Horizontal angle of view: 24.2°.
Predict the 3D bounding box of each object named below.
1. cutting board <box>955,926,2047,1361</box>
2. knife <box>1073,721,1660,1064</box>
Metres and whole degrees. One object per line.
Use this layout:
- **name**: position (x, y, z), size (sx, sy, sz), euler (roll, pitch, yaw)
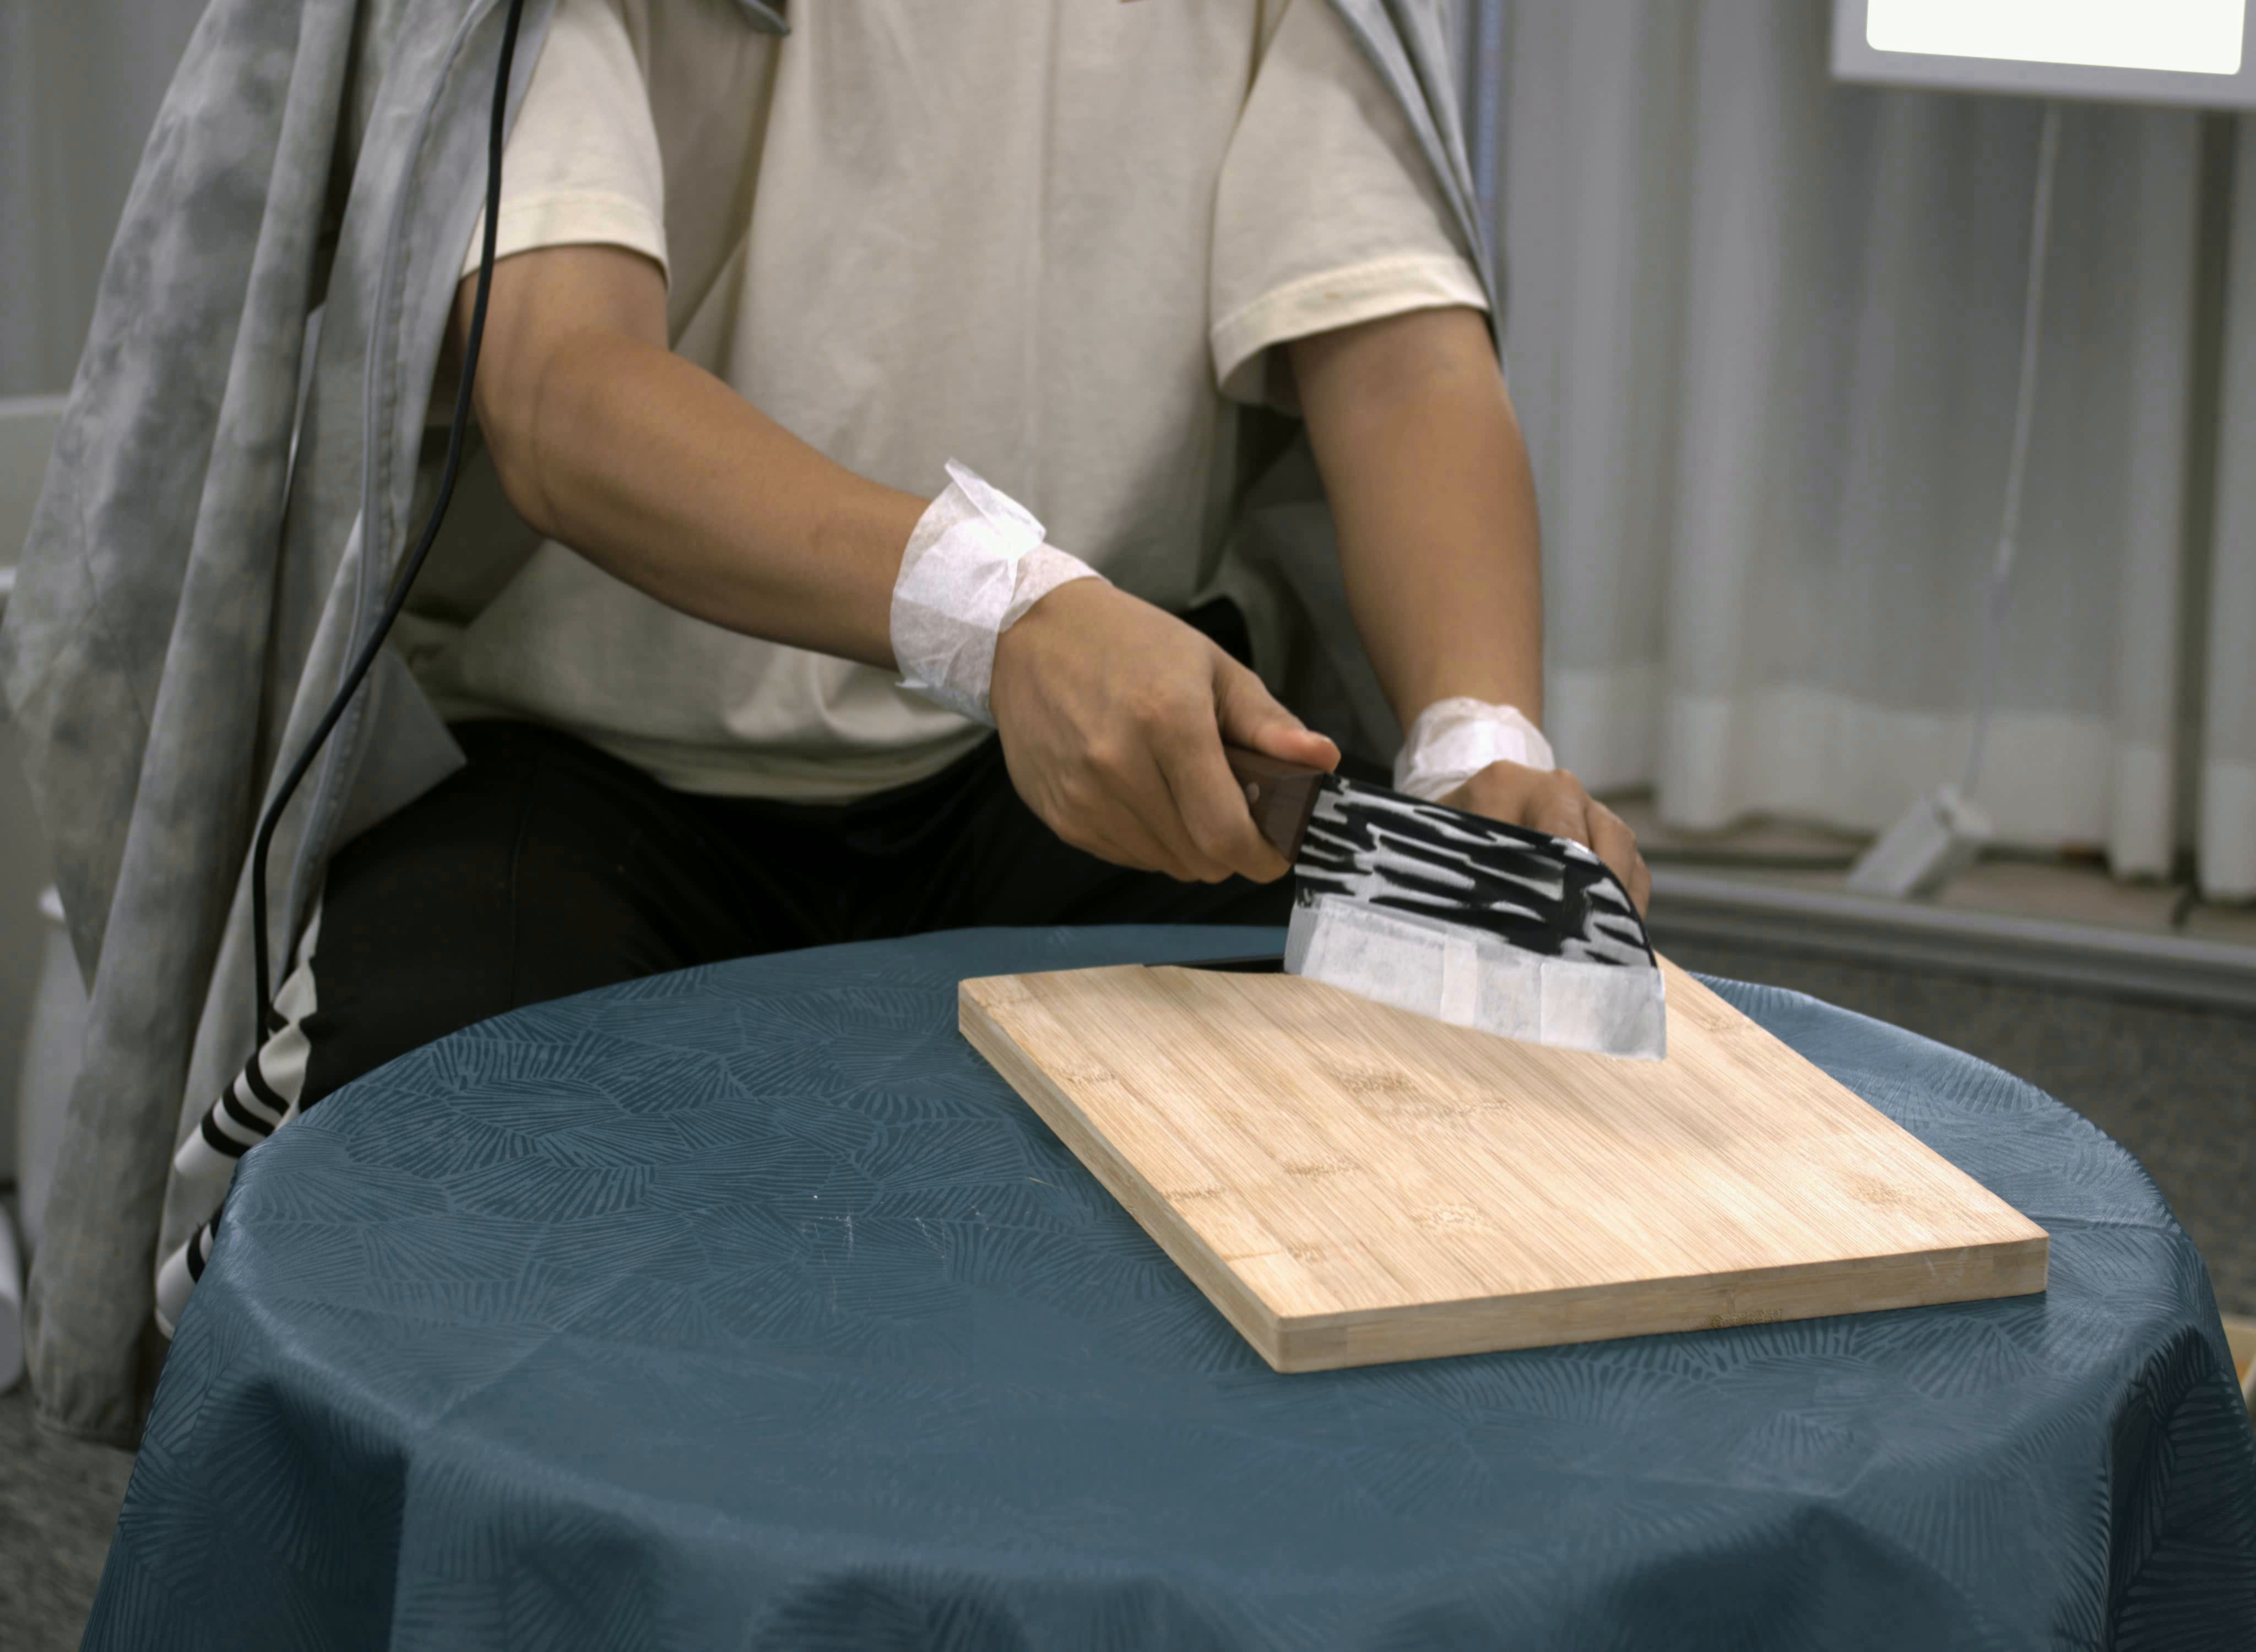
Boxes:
- **cutting board**: position (0.105, 0.094, 1.668), size (0.251, 0.024, 0.345), euler (-4, 16, -18)
- **knife**: position (0.073, 0.019, 1.703), size (0.024, 0.068, 0.295), euler (8, 7, -40)
